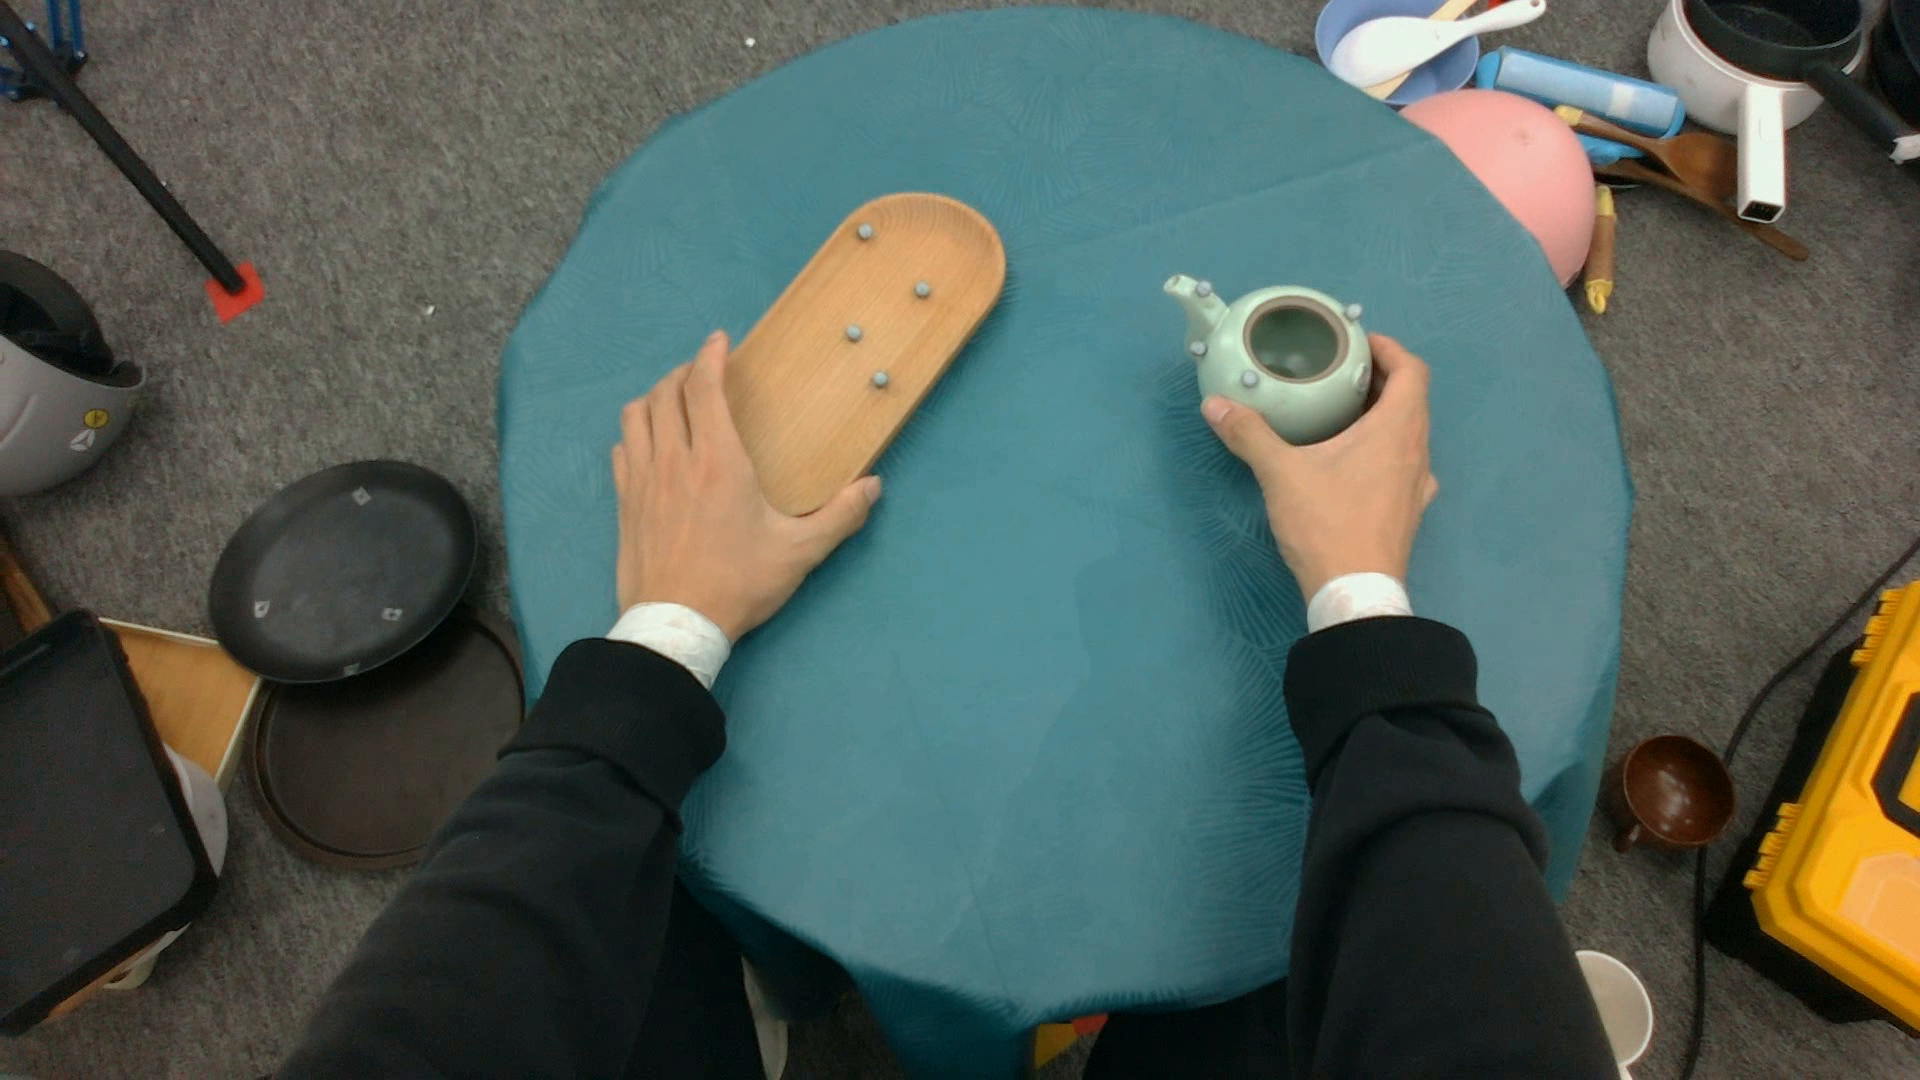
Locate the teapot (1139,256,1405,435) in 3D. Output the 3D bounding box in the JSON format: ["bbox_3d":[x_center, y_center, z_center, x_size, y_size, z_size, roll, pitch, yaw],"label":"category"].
[{"bbox_3d":[0.157,-0.099,0.717,0.144,0.074,0.088,26,68,15],"label":"teapot"}]

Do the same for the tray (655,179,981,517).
[{"bbox_3d":[-0.073,-0.108,0.743,0.101,0.020,0.232,28,68,15],"label":"tray"}]
